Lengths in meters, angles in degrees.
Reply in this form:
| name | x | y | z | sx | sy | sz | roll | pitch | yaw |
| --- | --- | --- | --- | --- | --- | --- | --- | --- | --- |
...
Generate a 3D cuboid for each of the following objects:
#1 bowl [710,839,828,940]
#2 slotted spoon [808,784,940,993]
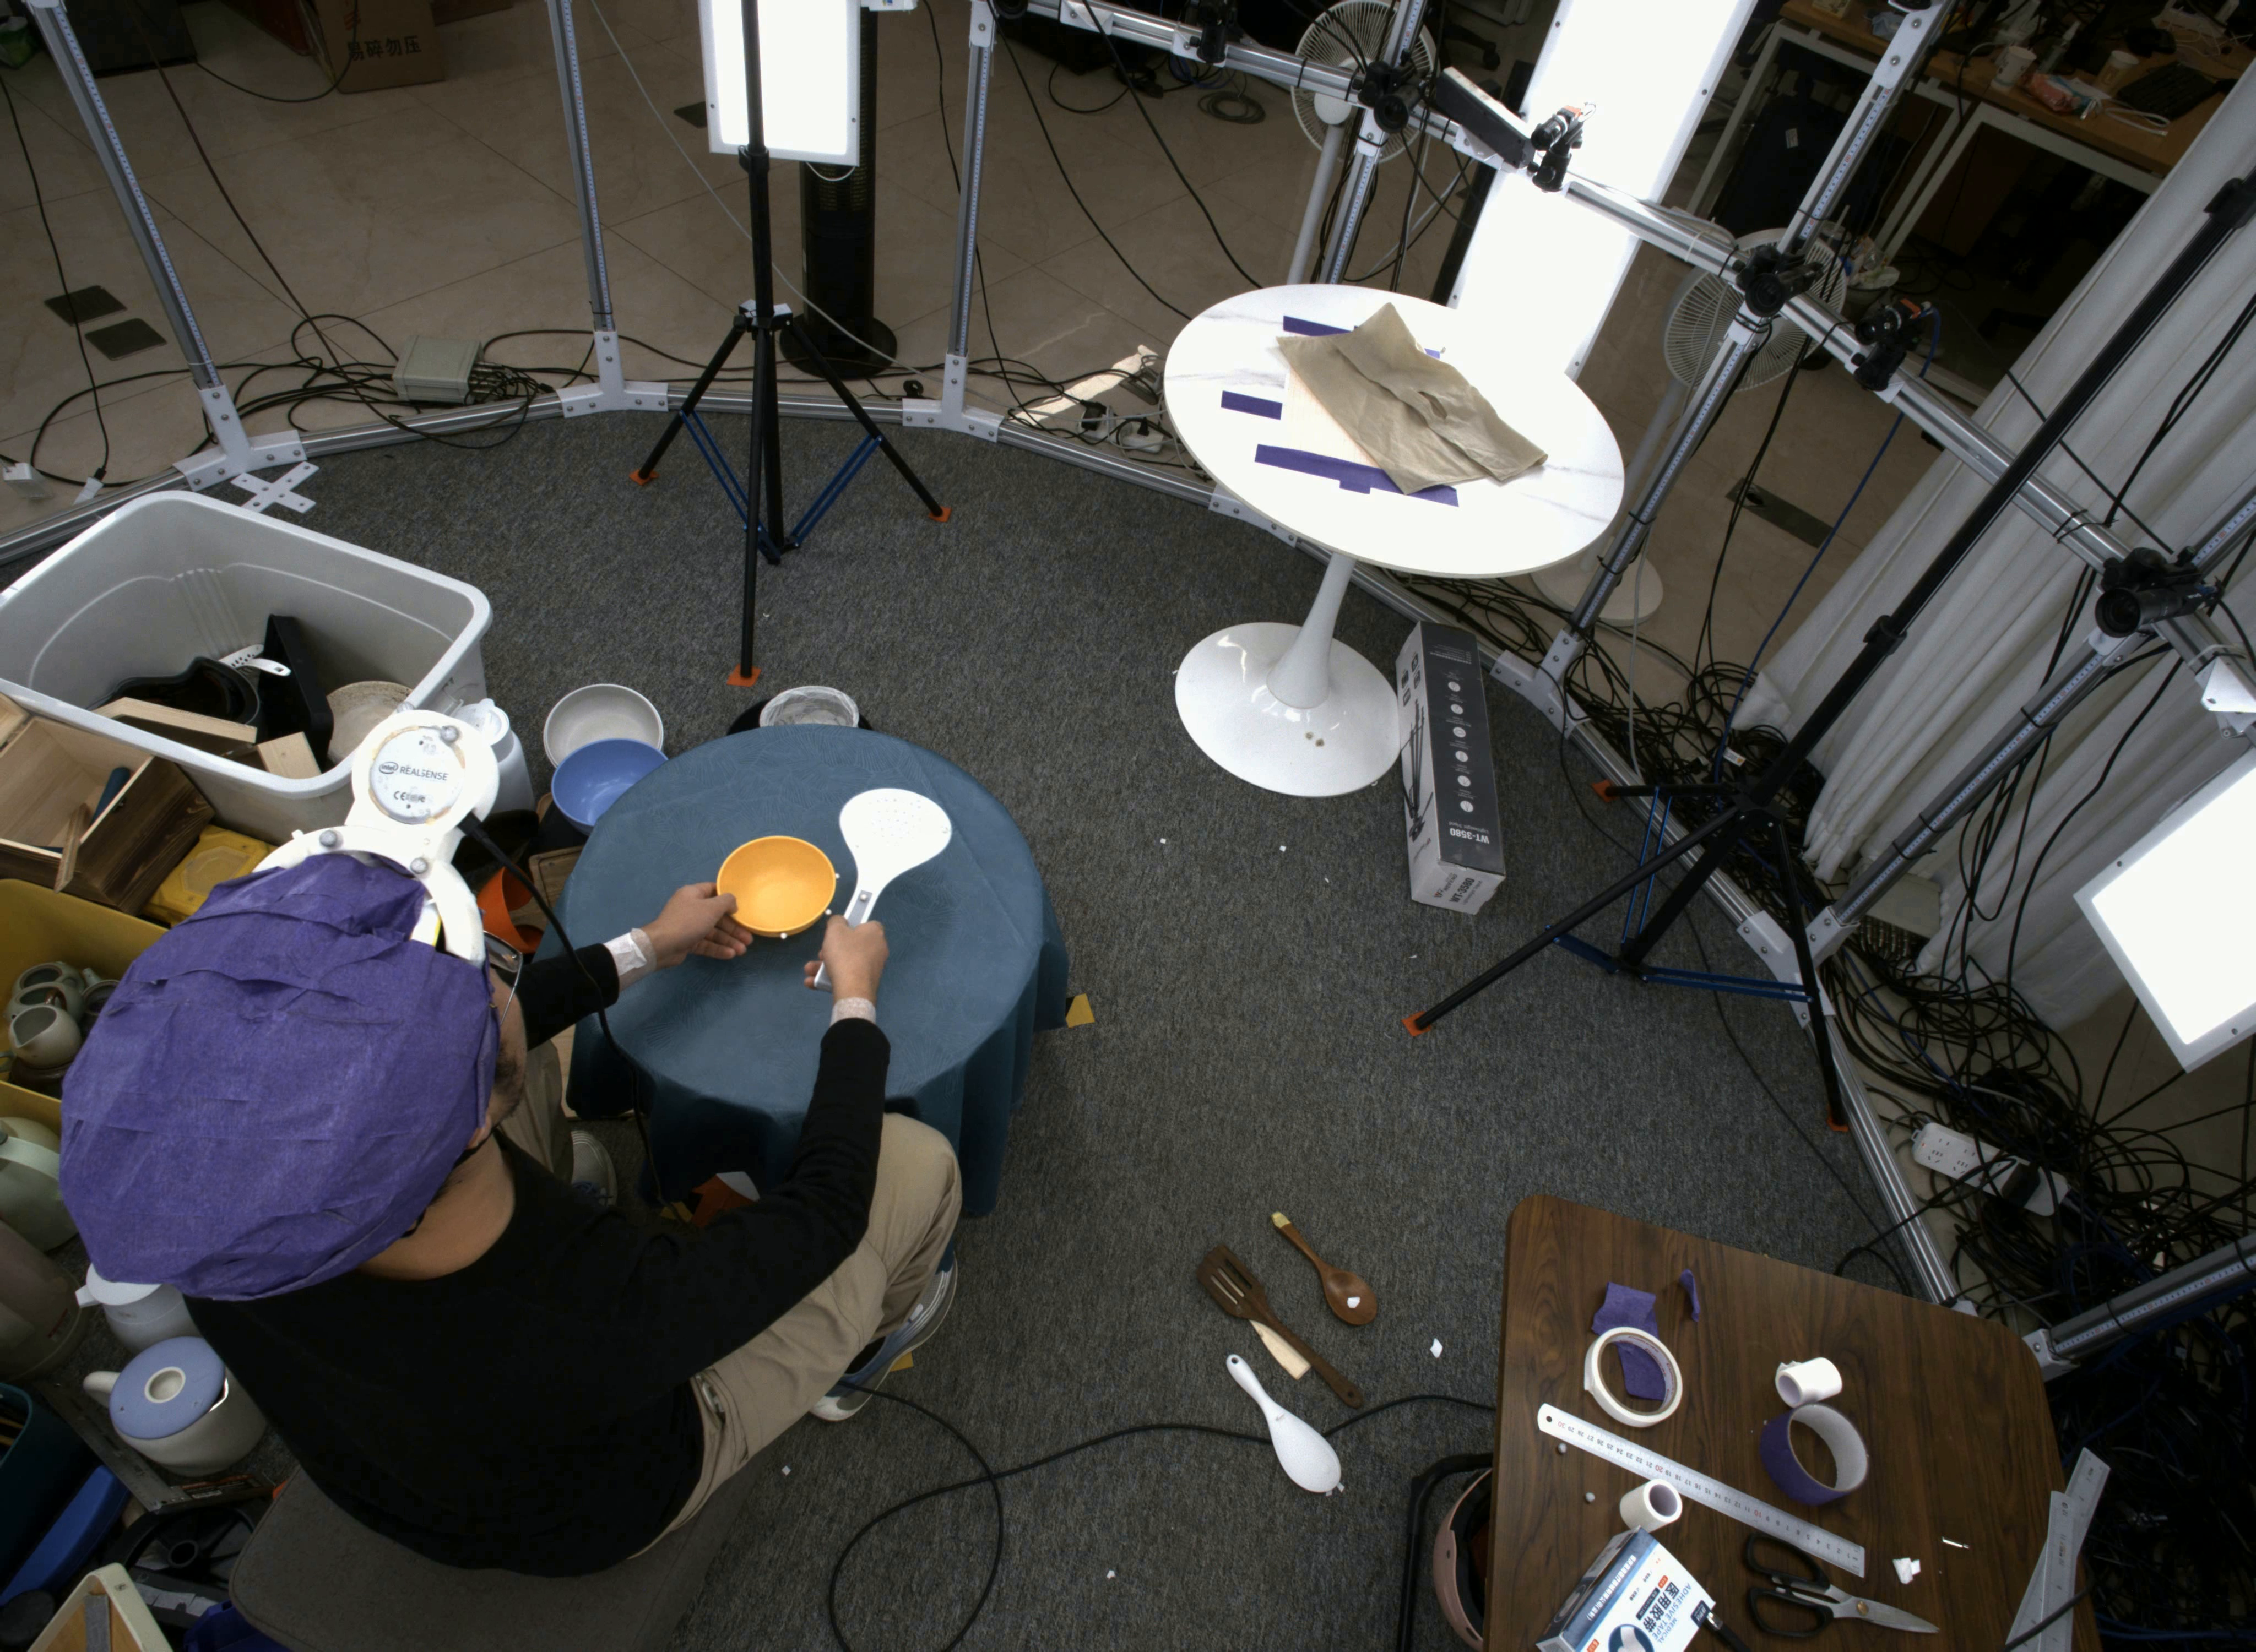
| name | x | y | z | sx | sy | sz | roll | pitch | yaw |
| --- | --- | --- | --- | --- | --- | --- | --- | --- | --- |
| bowl | -0.444 | 0.088 | 1.612 | 0.145 | 0.061 | 0.142 | 6 | 52 | -7 |
| slotted spoon | -0.313 | 0.065 | 1.528 | 0.135 | 0.047 | 0.343 | 16 | 35 | -5 |
